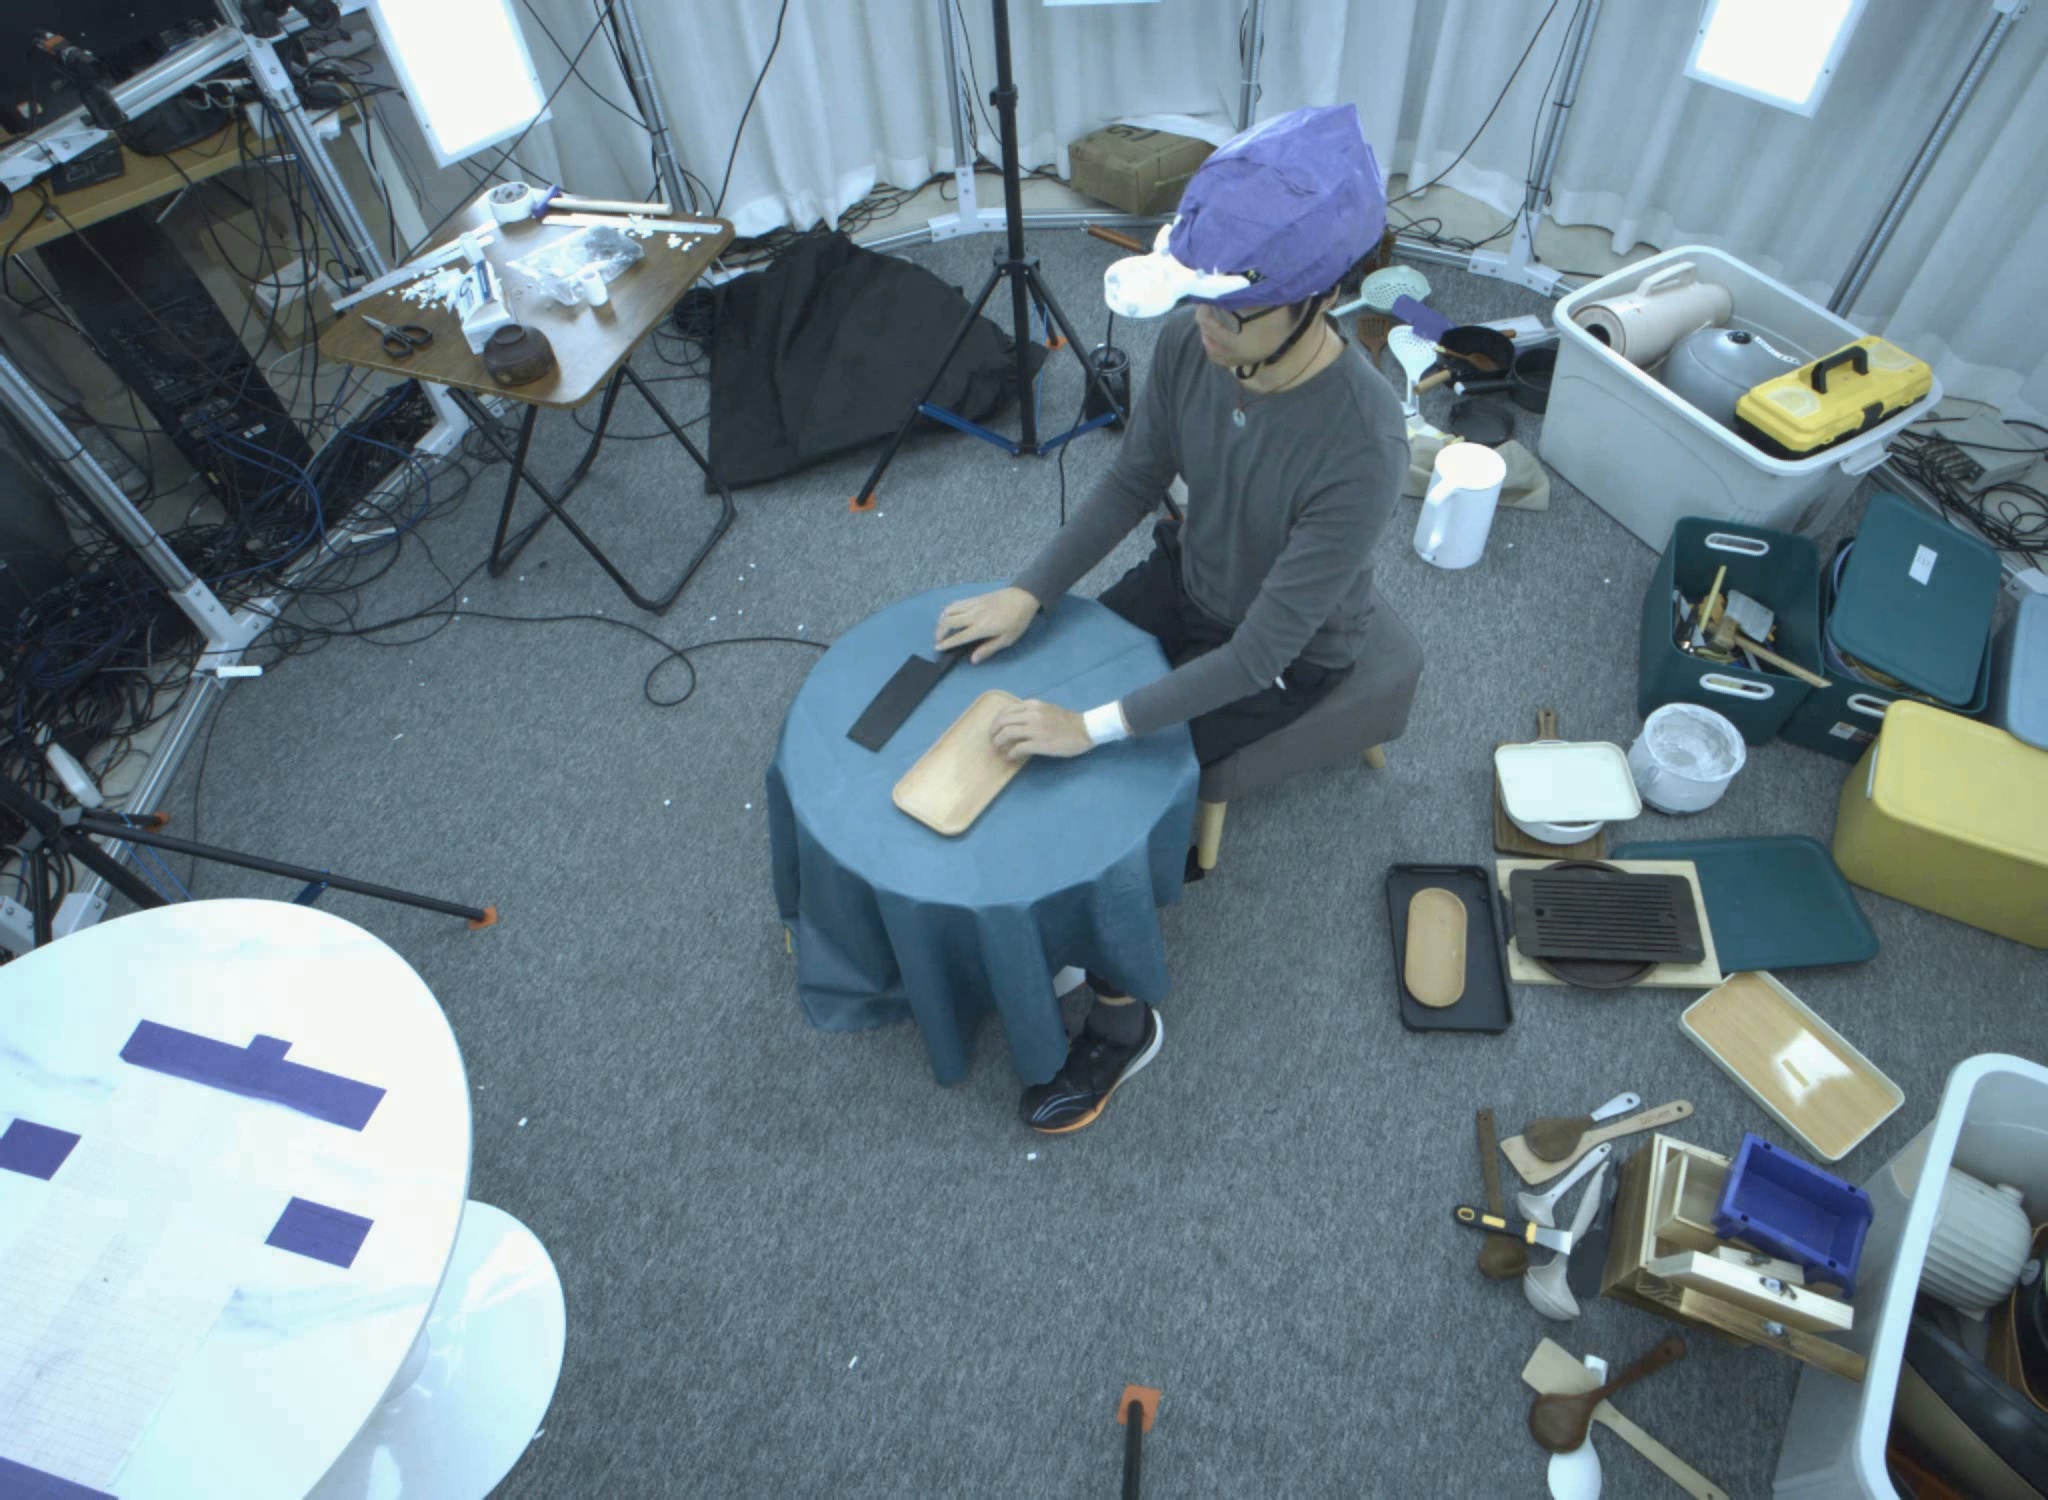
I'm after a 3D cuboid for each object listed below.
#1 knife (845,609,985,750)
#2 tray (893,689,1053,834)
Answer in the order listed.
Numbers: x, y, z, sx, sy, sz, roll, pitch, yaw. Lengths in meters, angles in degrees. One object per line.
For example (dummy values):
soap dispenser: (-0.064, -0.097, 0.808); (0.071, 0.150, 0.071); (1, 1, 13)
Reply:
knife: (-0.160, -0.115, 1.873); (0.079, 0.021, 0.304); (30, 62, 24)
tray: (-0.072, 0.014, 1.777); (0.128, 0.023, 0.252); (32, 60, 19)
